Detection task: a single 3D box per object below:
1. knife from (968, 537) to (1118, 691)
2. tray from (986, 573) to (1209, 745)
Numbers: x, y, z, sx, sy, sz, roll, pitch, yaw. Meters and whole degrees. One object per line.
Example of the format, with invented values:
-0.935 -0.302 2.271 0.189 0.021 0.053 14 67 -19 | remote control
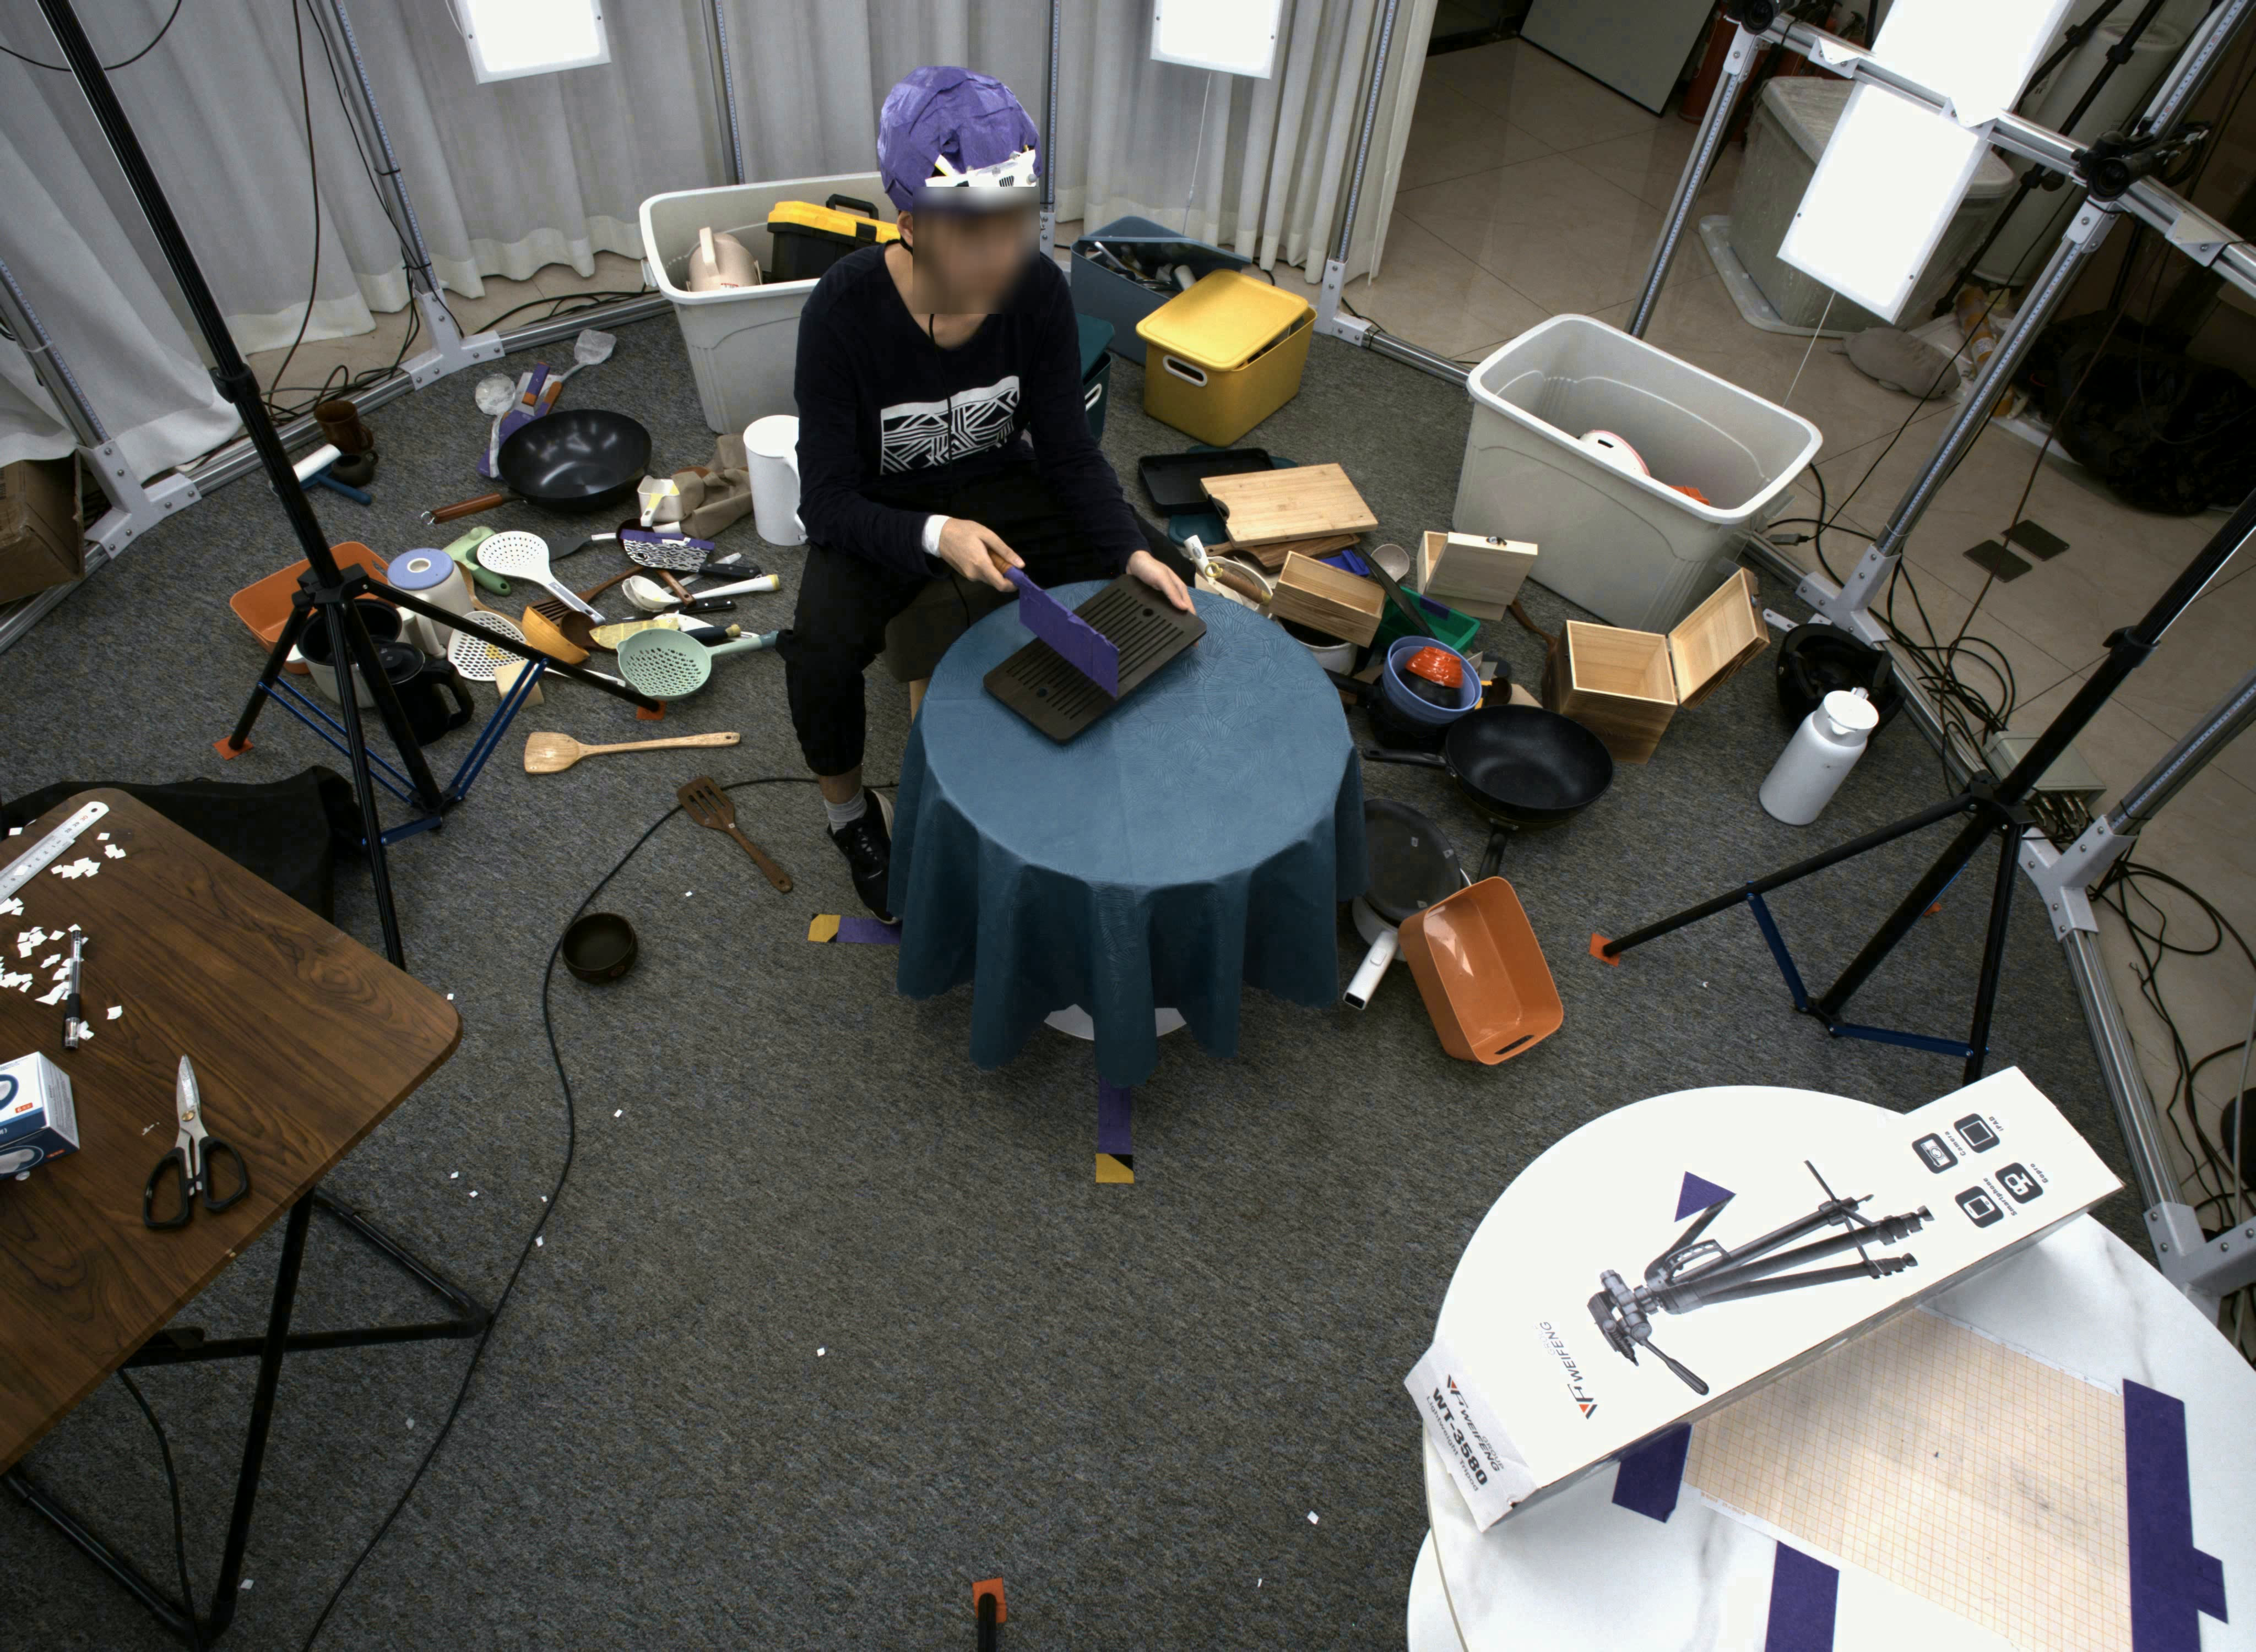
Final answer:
-0.122 -0.297 1.820 0.032 0.101 0.321 -30 55 -27 | knife
-0.041 -0.244 1.845 0.172 0.018 0.309 37 62 25 | tray
